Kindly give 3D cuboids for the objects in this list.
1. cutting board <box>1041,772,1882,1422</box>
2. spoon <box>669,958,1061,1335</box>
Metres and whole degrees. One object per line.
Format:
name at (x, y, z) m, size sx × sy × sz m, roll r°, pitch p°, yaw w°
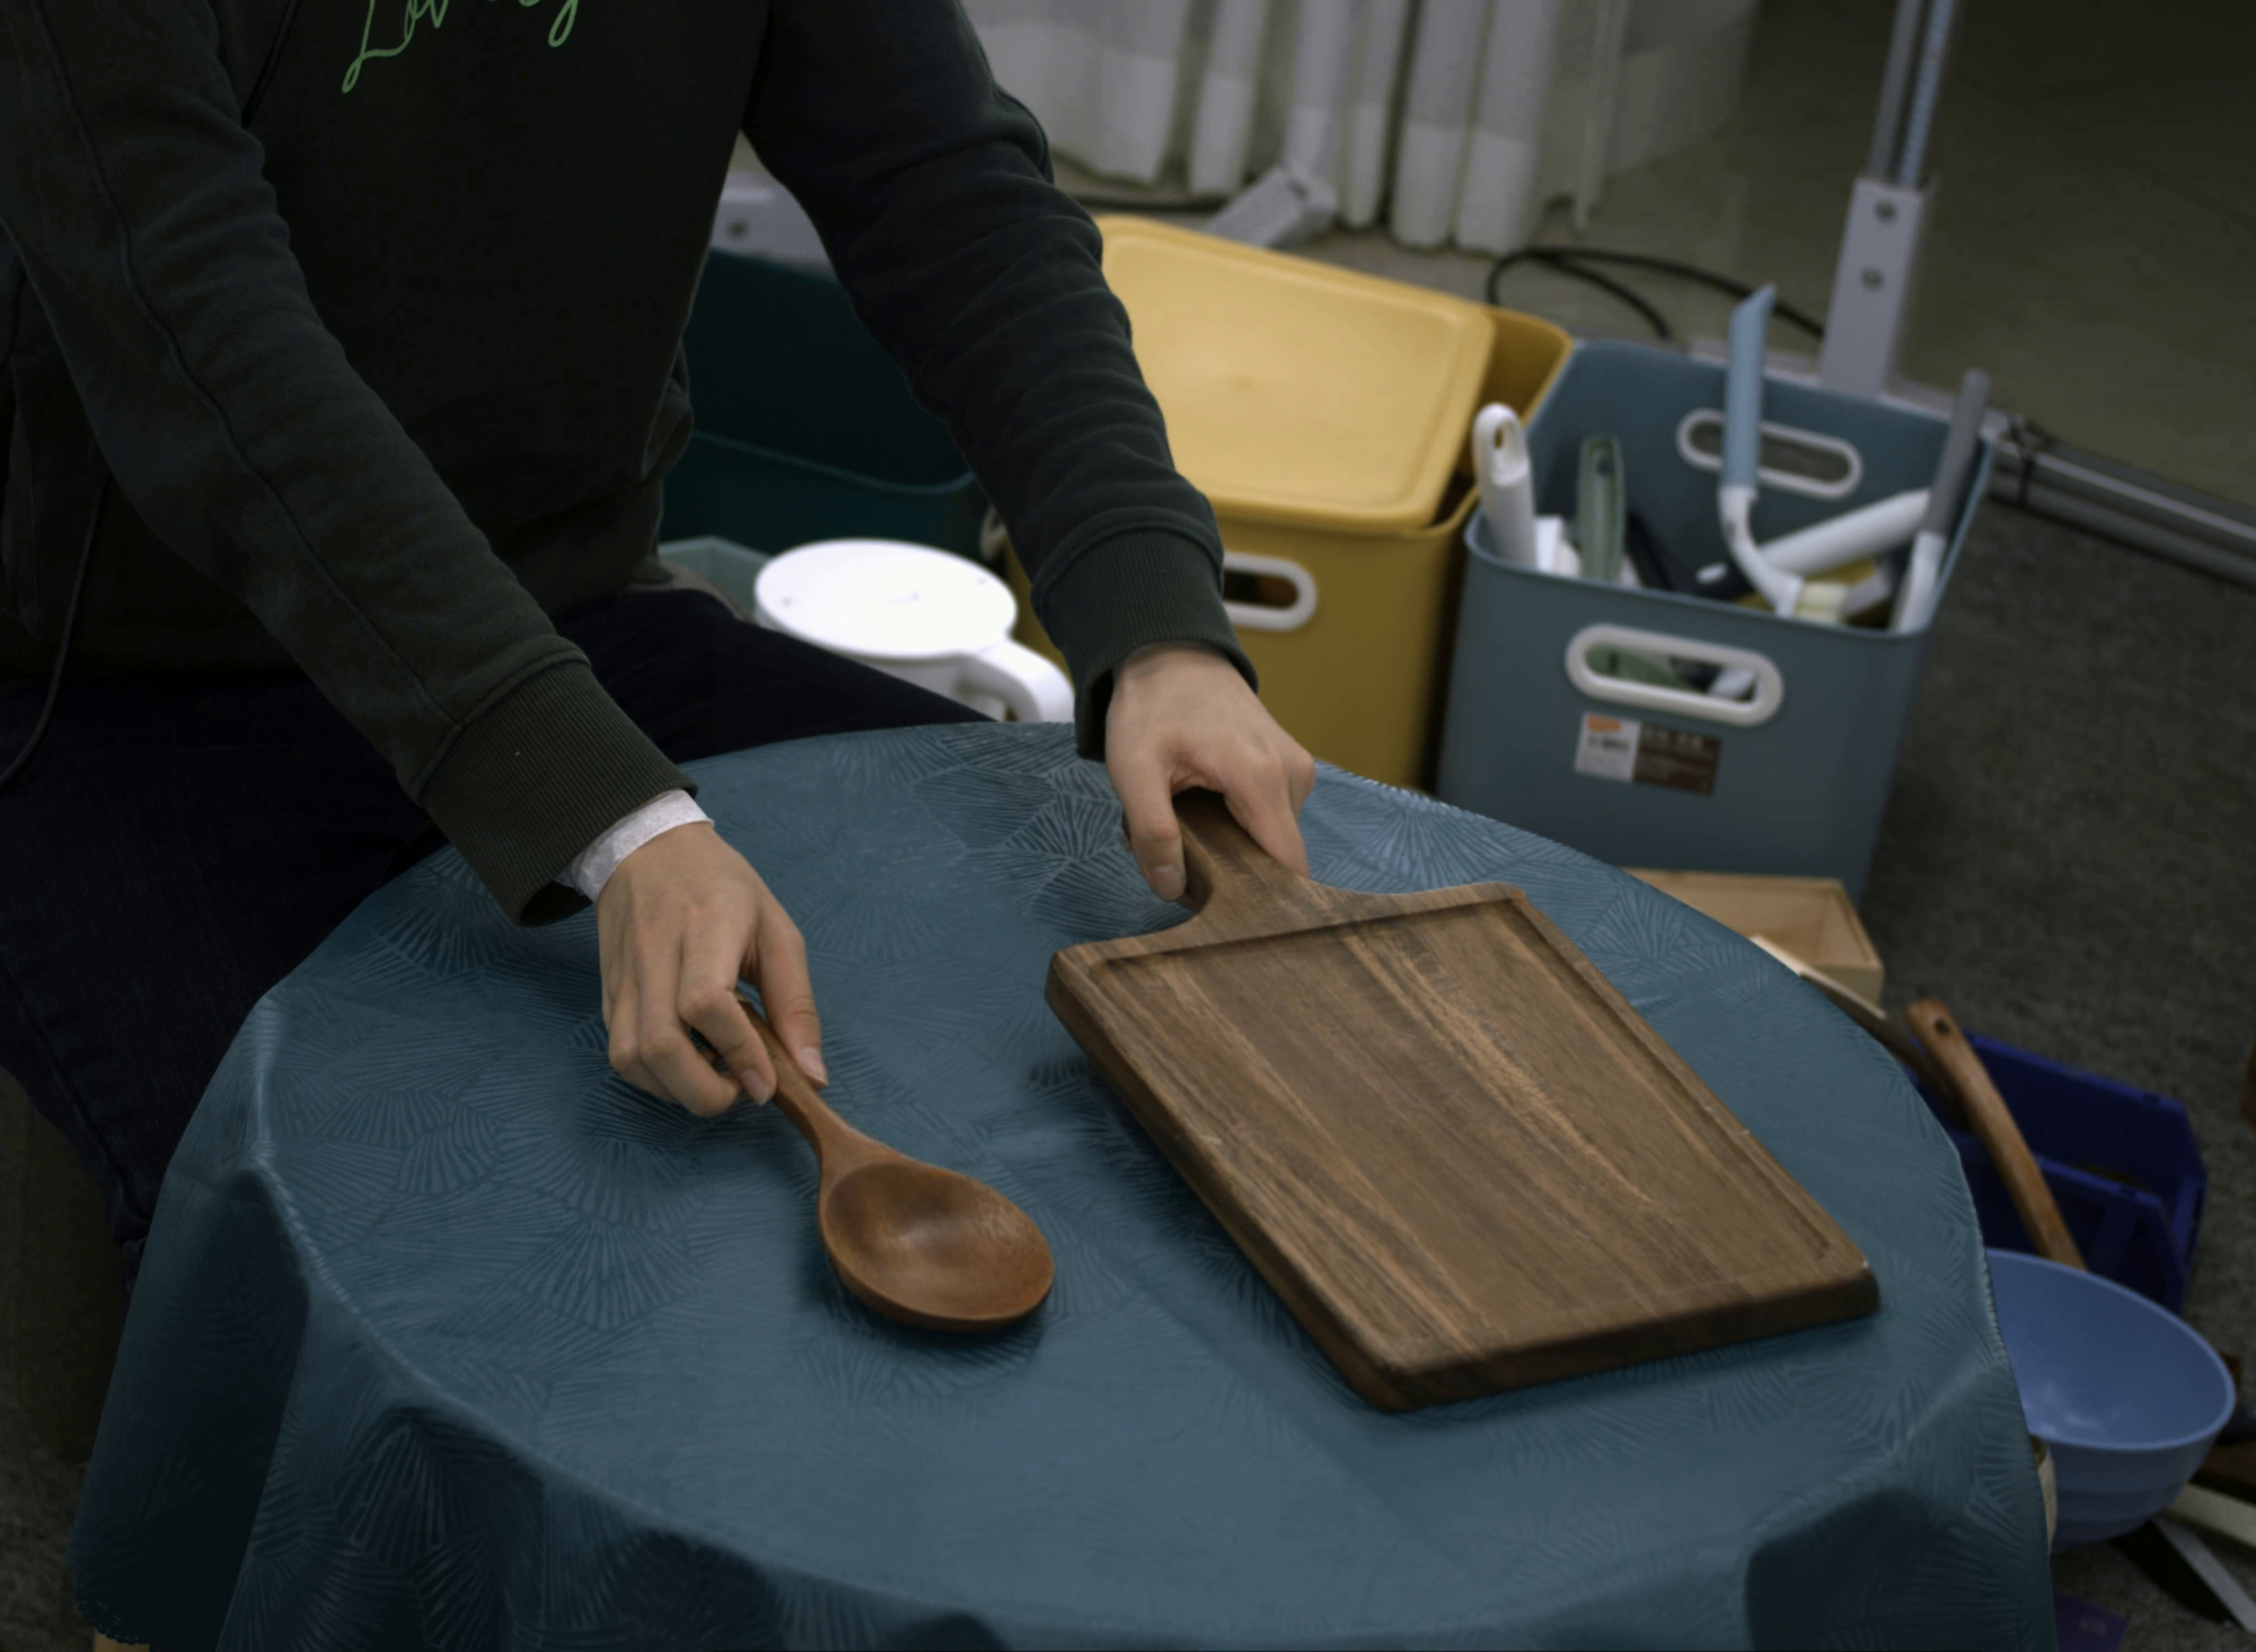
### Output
cutting board at (0.088, 0.079, 1.856) m, size 0.200 × 0.023 × 0.355 m, roll -9°, pitch 35°, yaw -26°
spoon at (-0.096, 0.107, 1.776) m, size 0.075 × 0.017 × 0.218 m, roll -13°, pitch 39°, yaw -30°
